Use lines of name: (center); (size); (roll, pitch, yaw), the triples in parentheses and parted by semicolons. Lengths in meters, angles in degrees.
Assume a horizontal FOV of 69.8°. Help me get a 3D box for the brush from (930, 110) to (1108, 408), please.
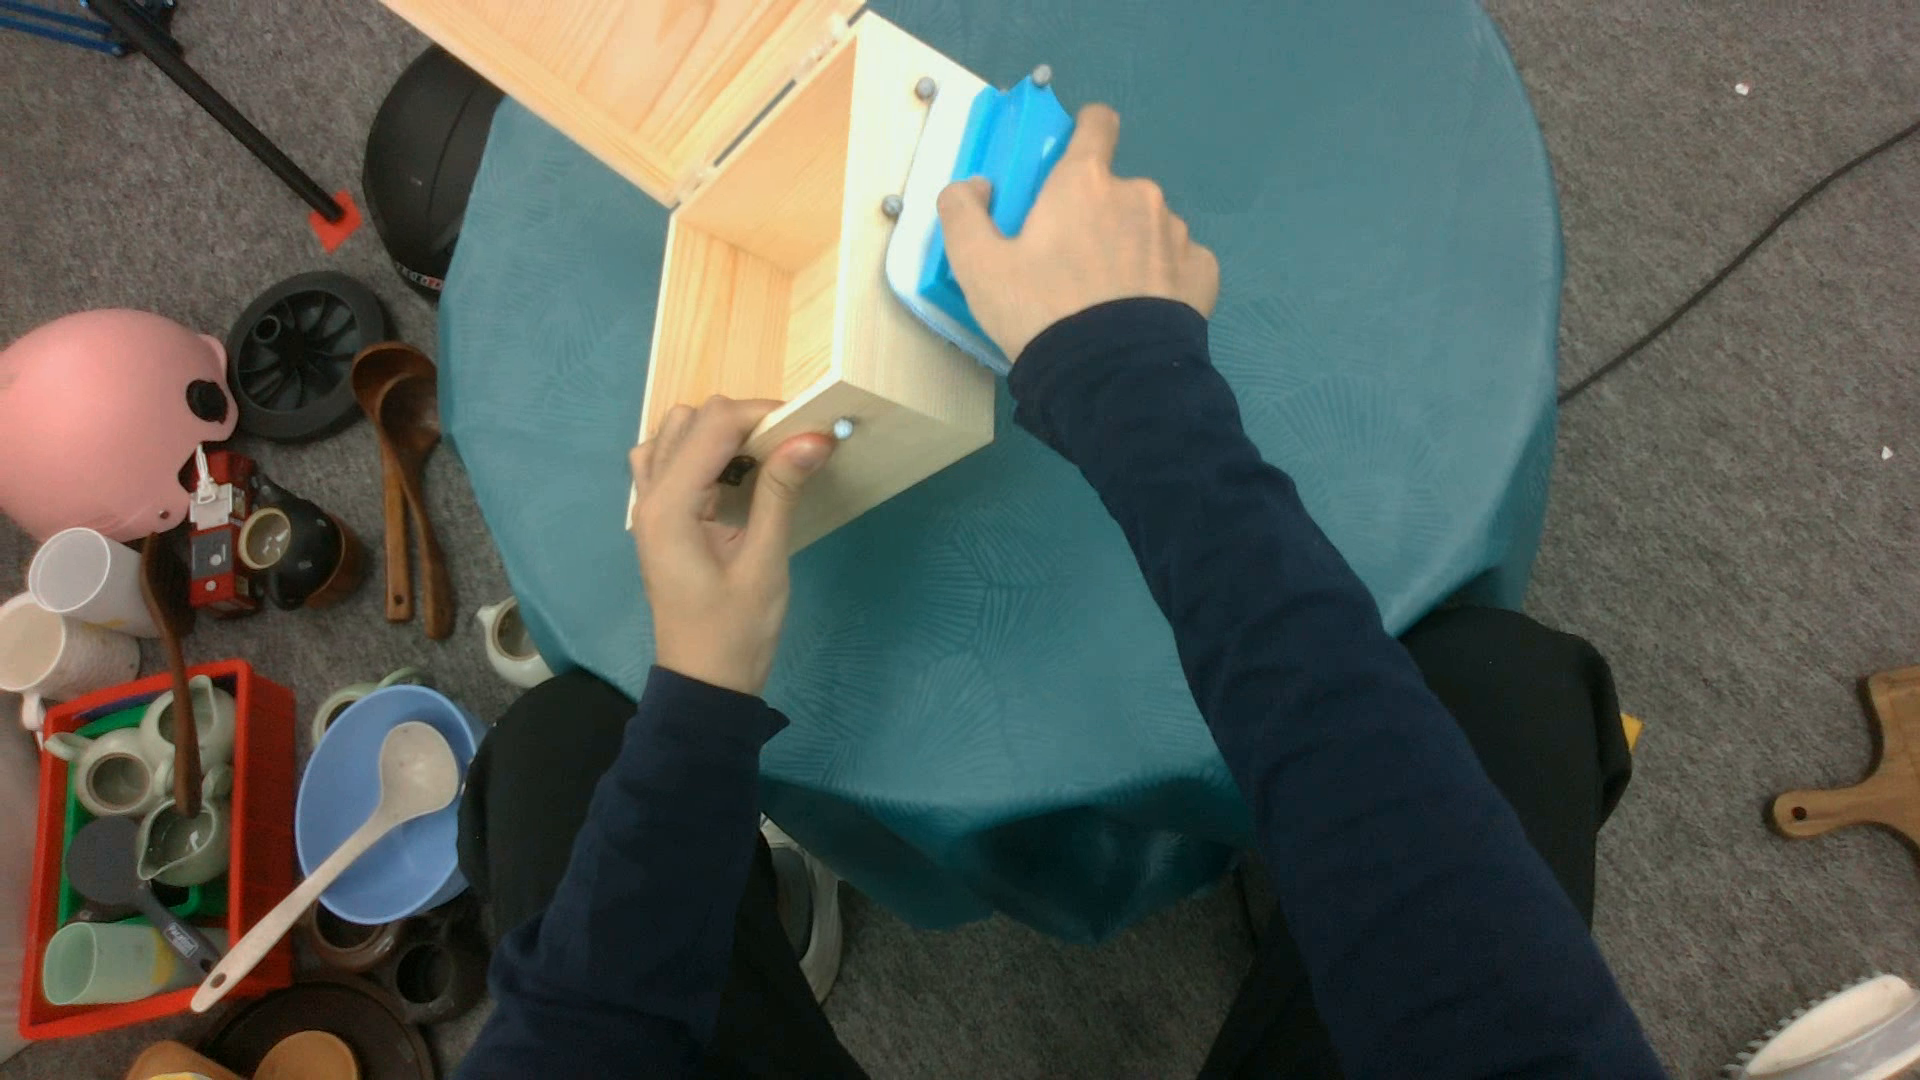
brush: (0.034, -0.129, 0.595); (0.084, 0.055, 0.144); (17, 54, -23)

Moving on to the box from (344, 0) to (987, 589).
box: (-0.143, -0.150, 0.614); (0.181, 0.253, 0.266); (-32, 49, 45)
